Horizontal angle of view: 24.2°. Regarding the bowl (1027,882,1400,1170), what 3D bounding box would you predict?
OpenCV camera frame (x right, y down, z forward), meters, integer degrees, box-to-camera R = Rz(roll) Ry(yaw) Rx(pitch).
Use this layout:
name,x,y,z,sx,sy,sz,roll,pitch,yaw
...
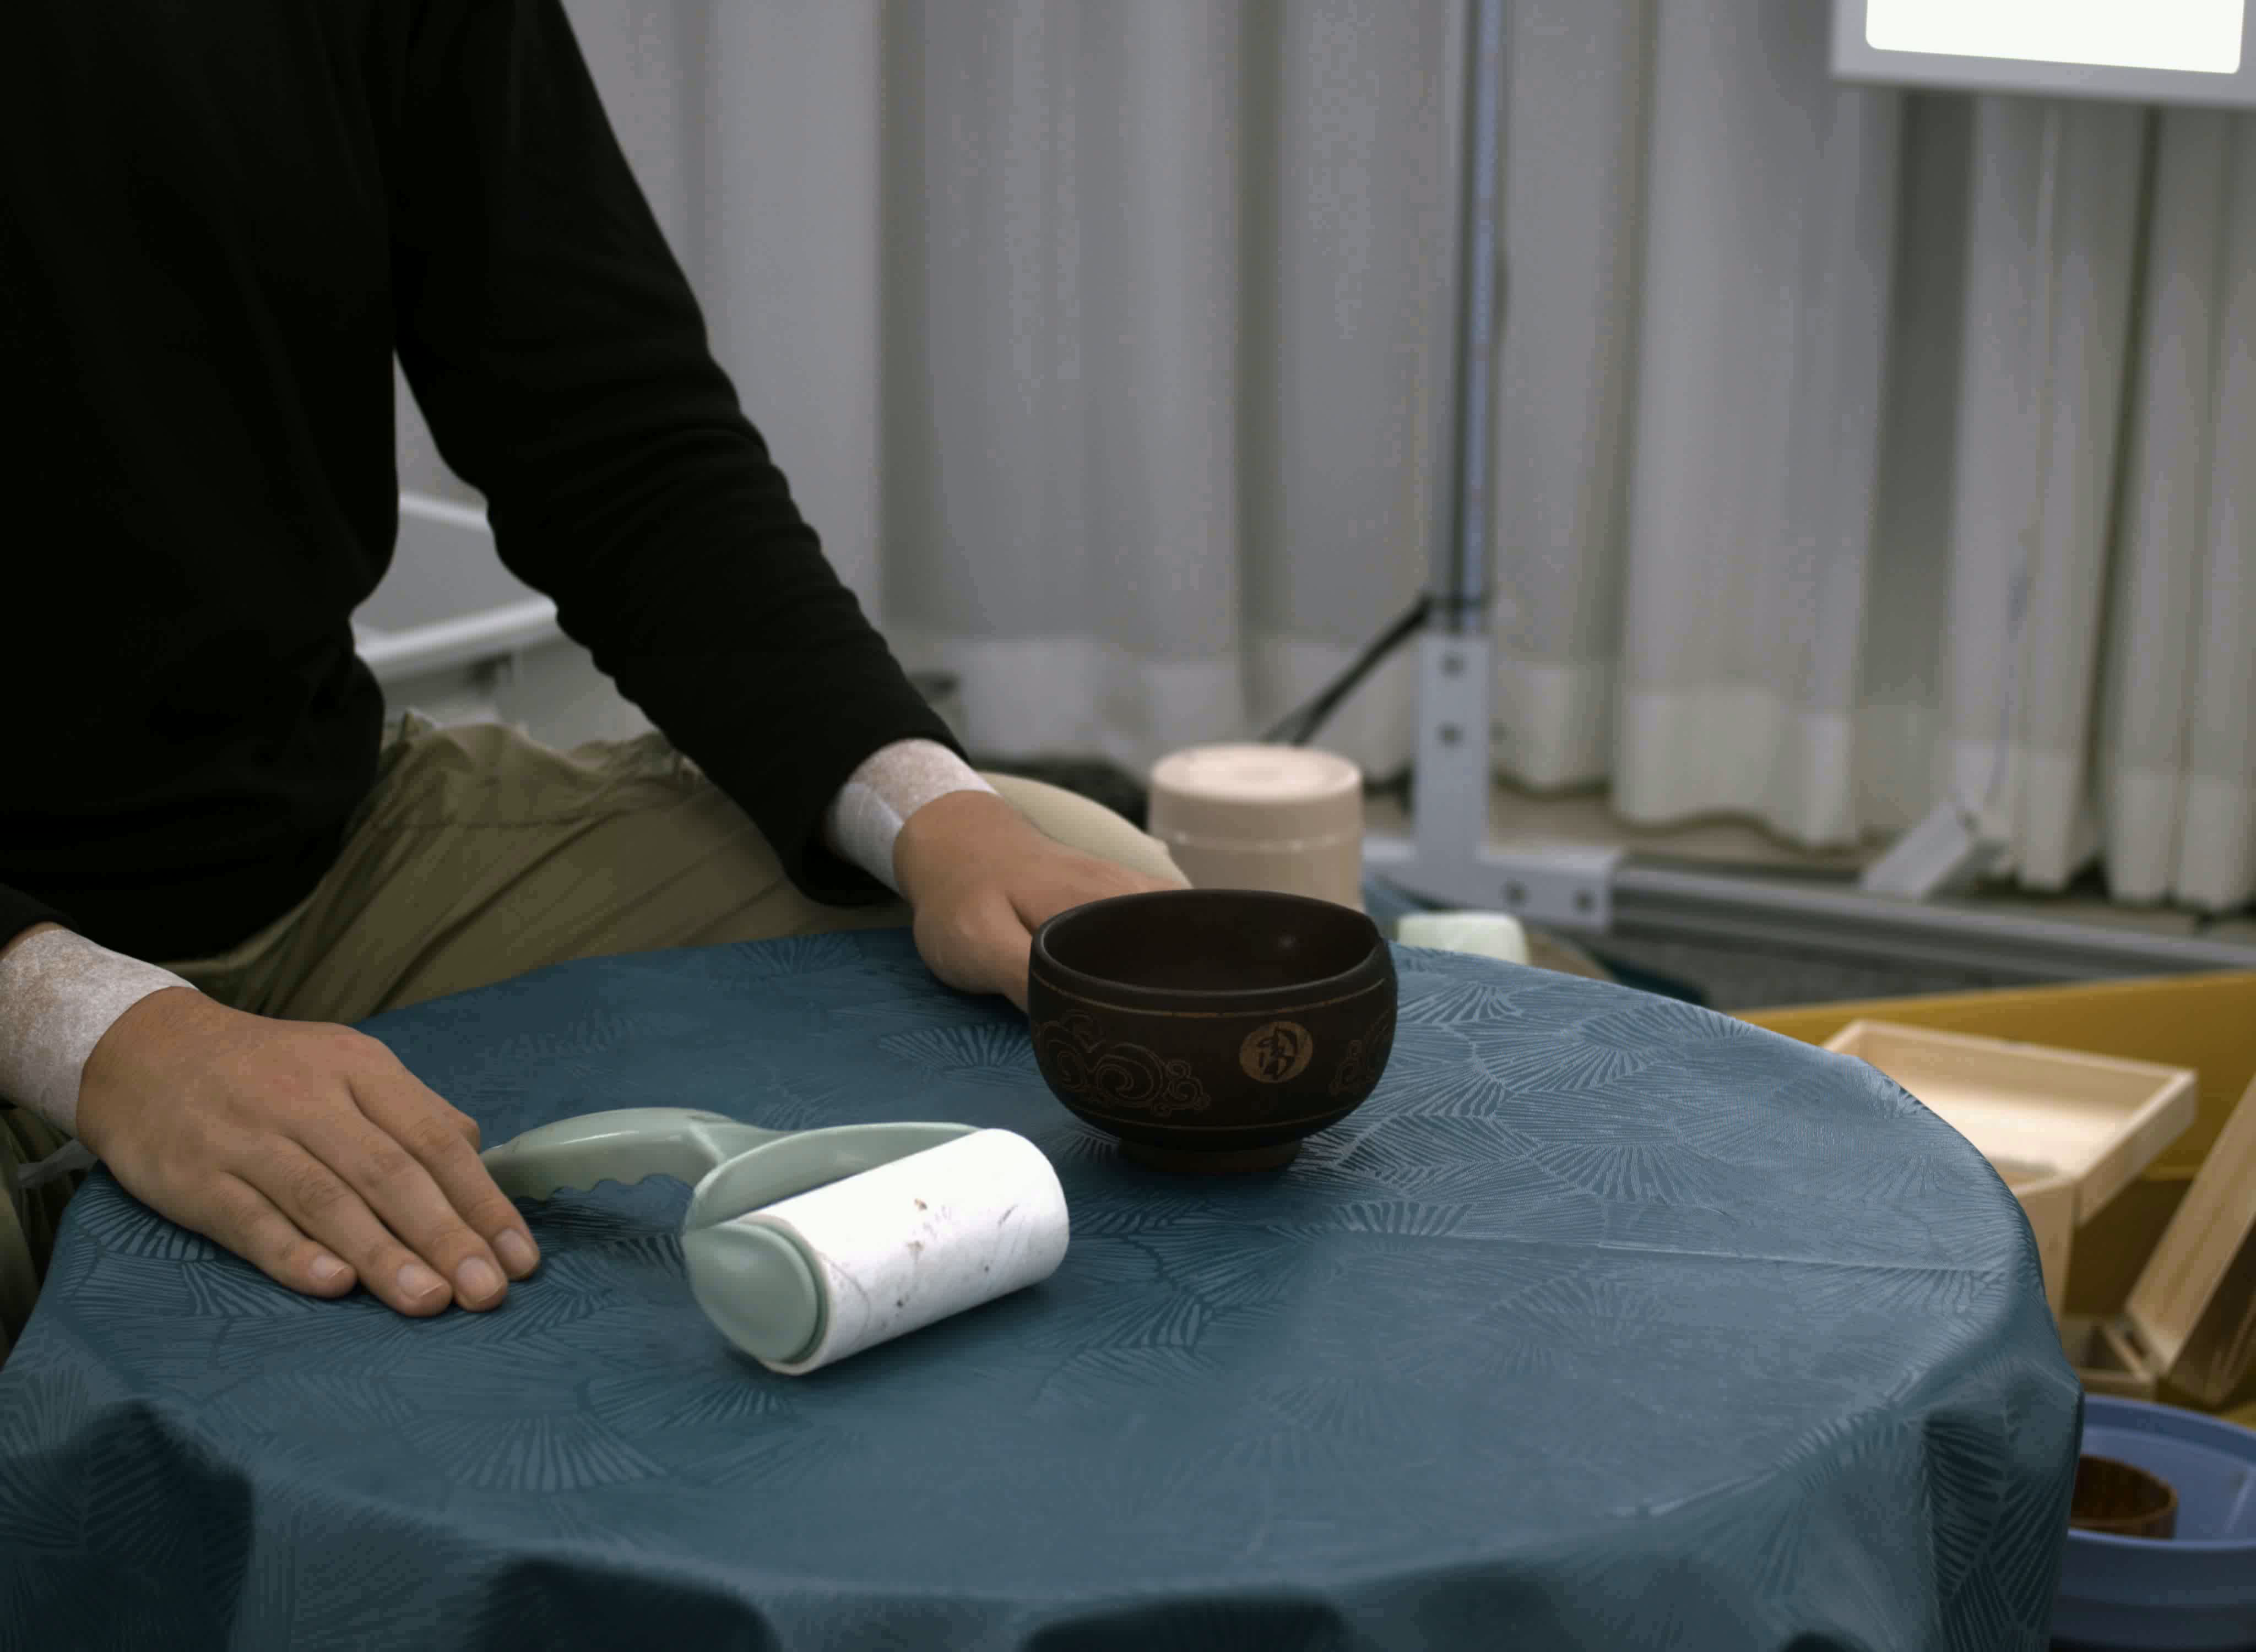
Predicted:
name,x,y,z,sx,sy,sz,roll,pitch,yaw
bowl,0.027,0.066,1.652,0.117,0.070,0.117,-1,16,1

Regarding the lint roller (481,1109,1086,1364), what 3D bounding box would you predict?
name,x,y,z,sx,sy,sz,roll,pitch,yaw
lint roller,-0.117,0.107,1.551,0.195,0.049,0.117,11,20,38
